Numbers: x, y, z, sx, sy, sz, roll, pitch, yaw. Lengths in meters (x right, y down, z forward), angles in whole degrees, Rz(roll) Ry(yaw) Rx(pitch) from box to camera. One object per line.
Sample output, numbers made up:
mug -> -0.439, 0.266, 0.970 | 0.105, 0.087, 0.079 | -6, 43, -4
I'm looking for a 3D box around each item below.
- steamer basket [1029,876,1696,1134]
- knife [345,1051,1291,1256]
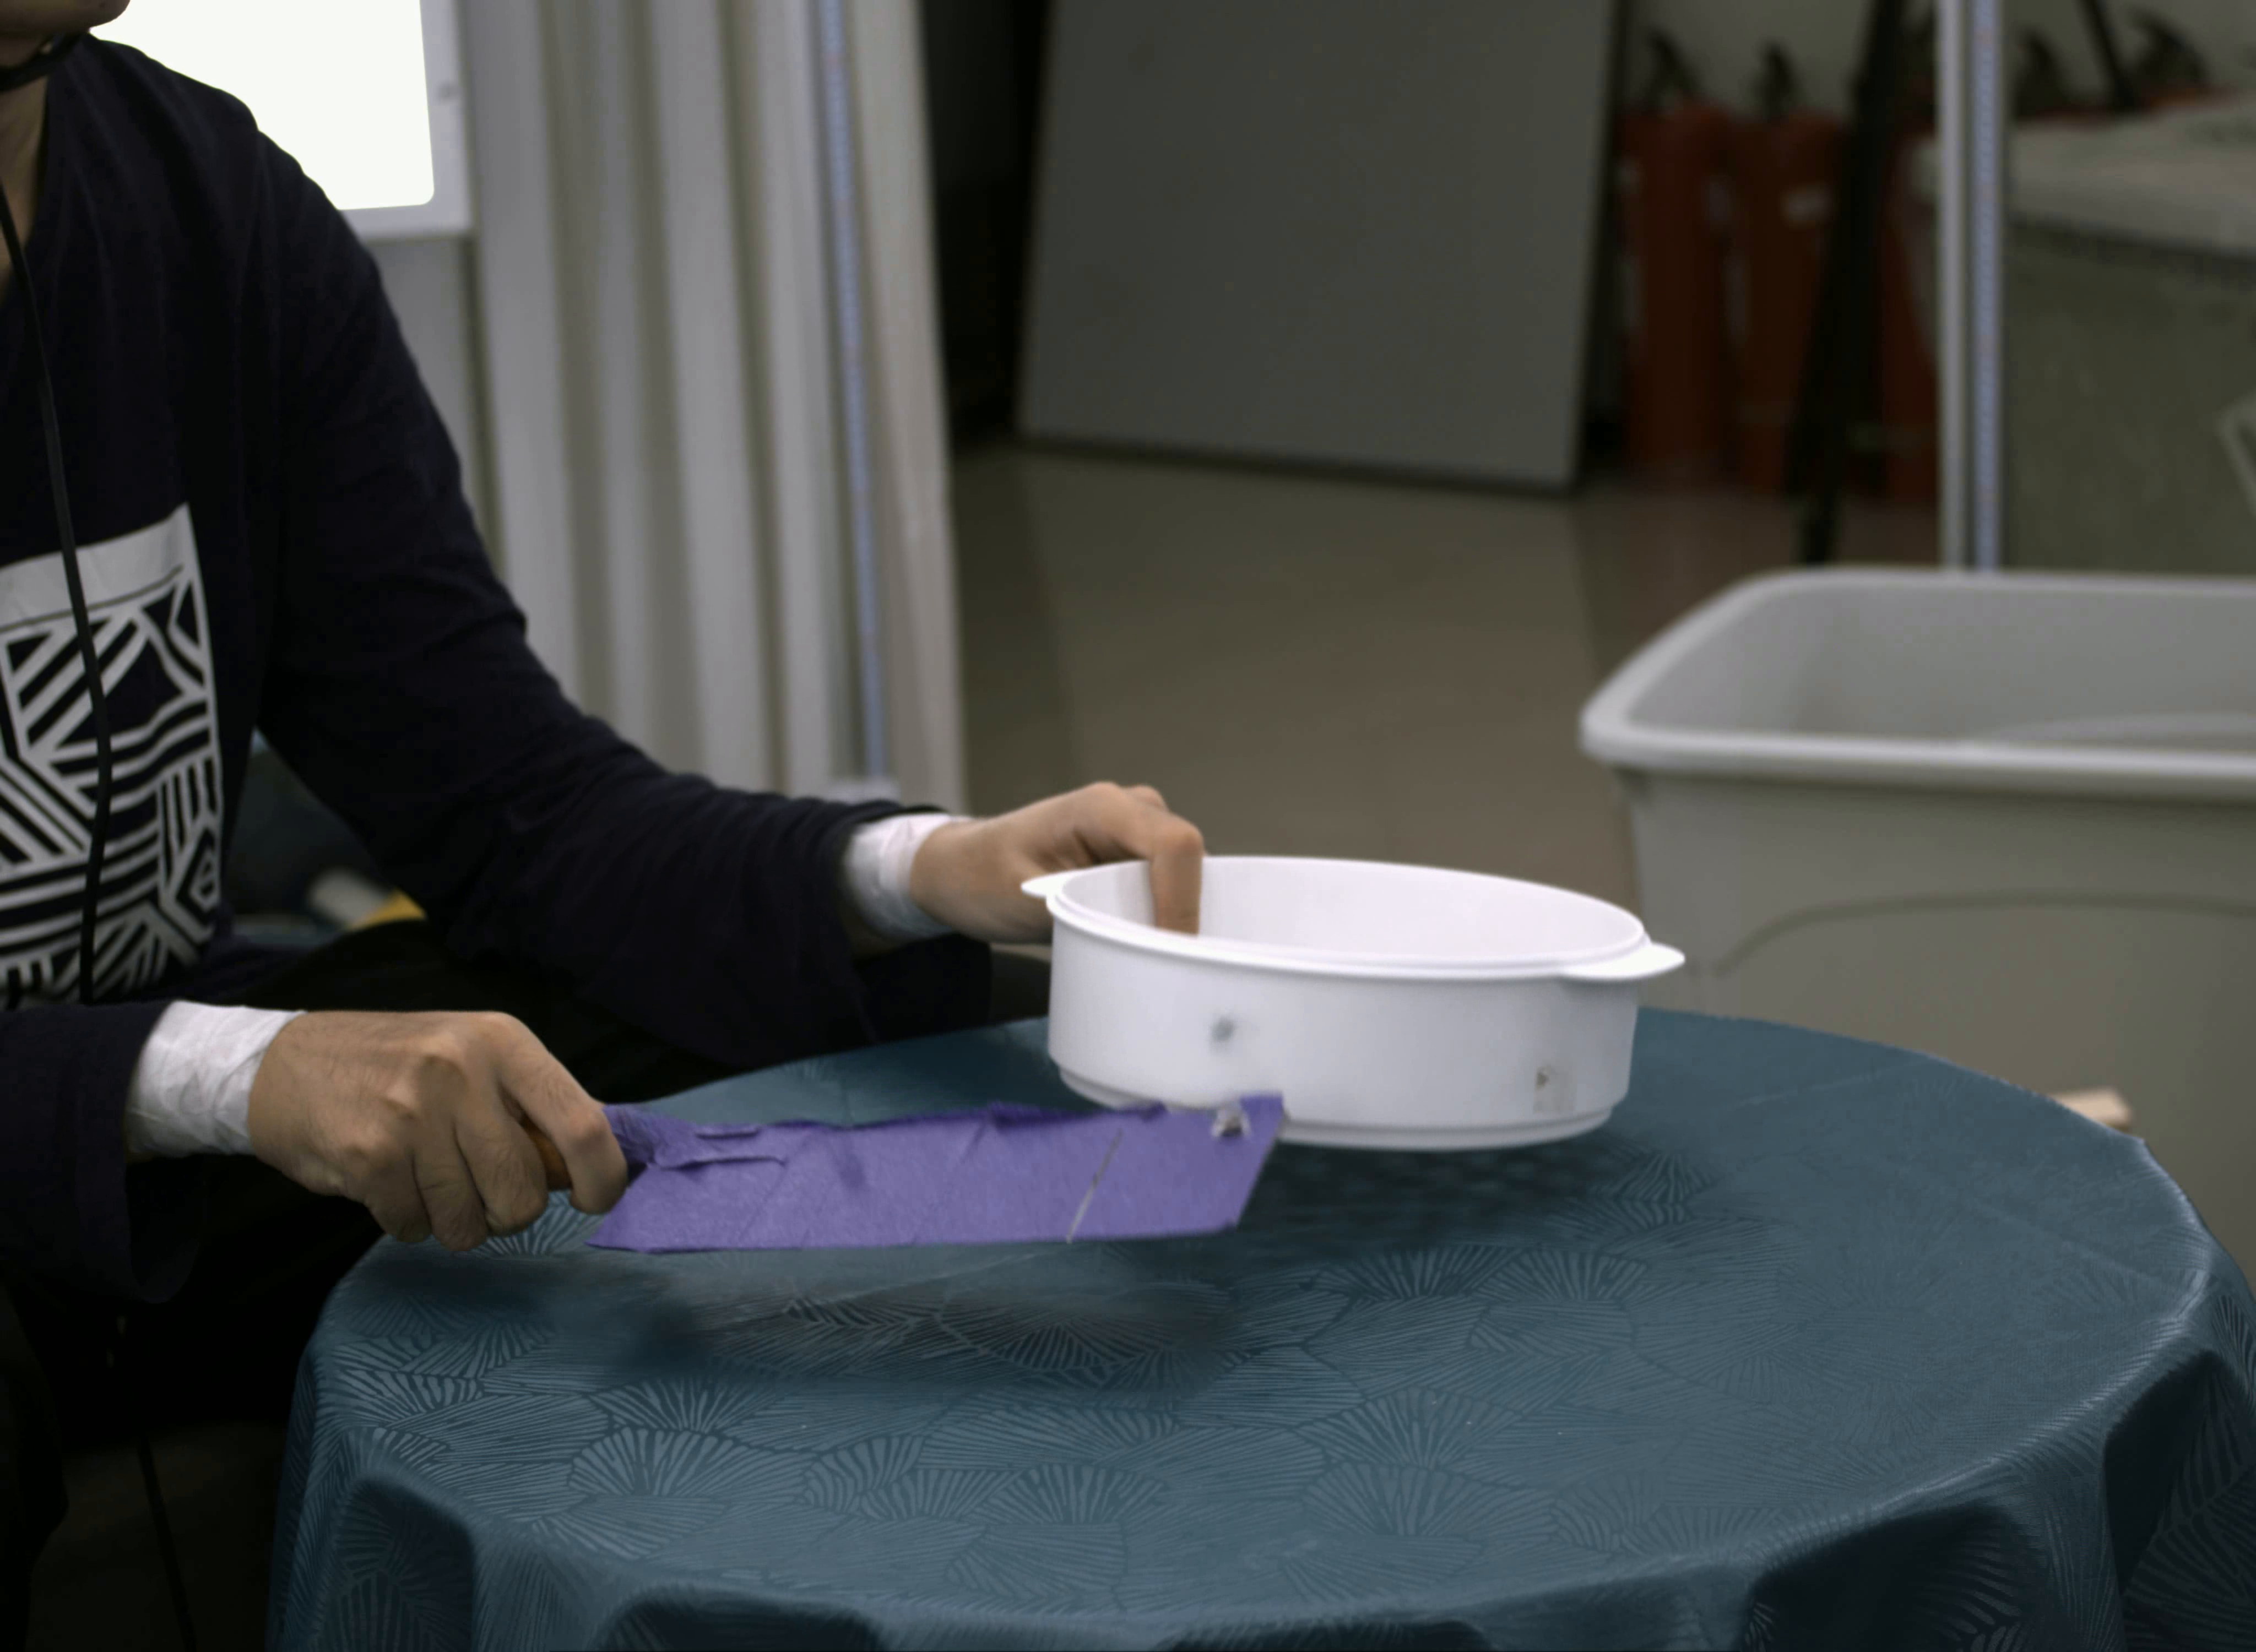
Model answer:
steamer basket -> 0.074, 0.058, 1.770 | 0.231, 0.070, 0.198 | 4, 5, 30
knife -> -0.107, 0.104, 1.664 | 0.314, 0.032, 0.103 | -7, 18, 18
